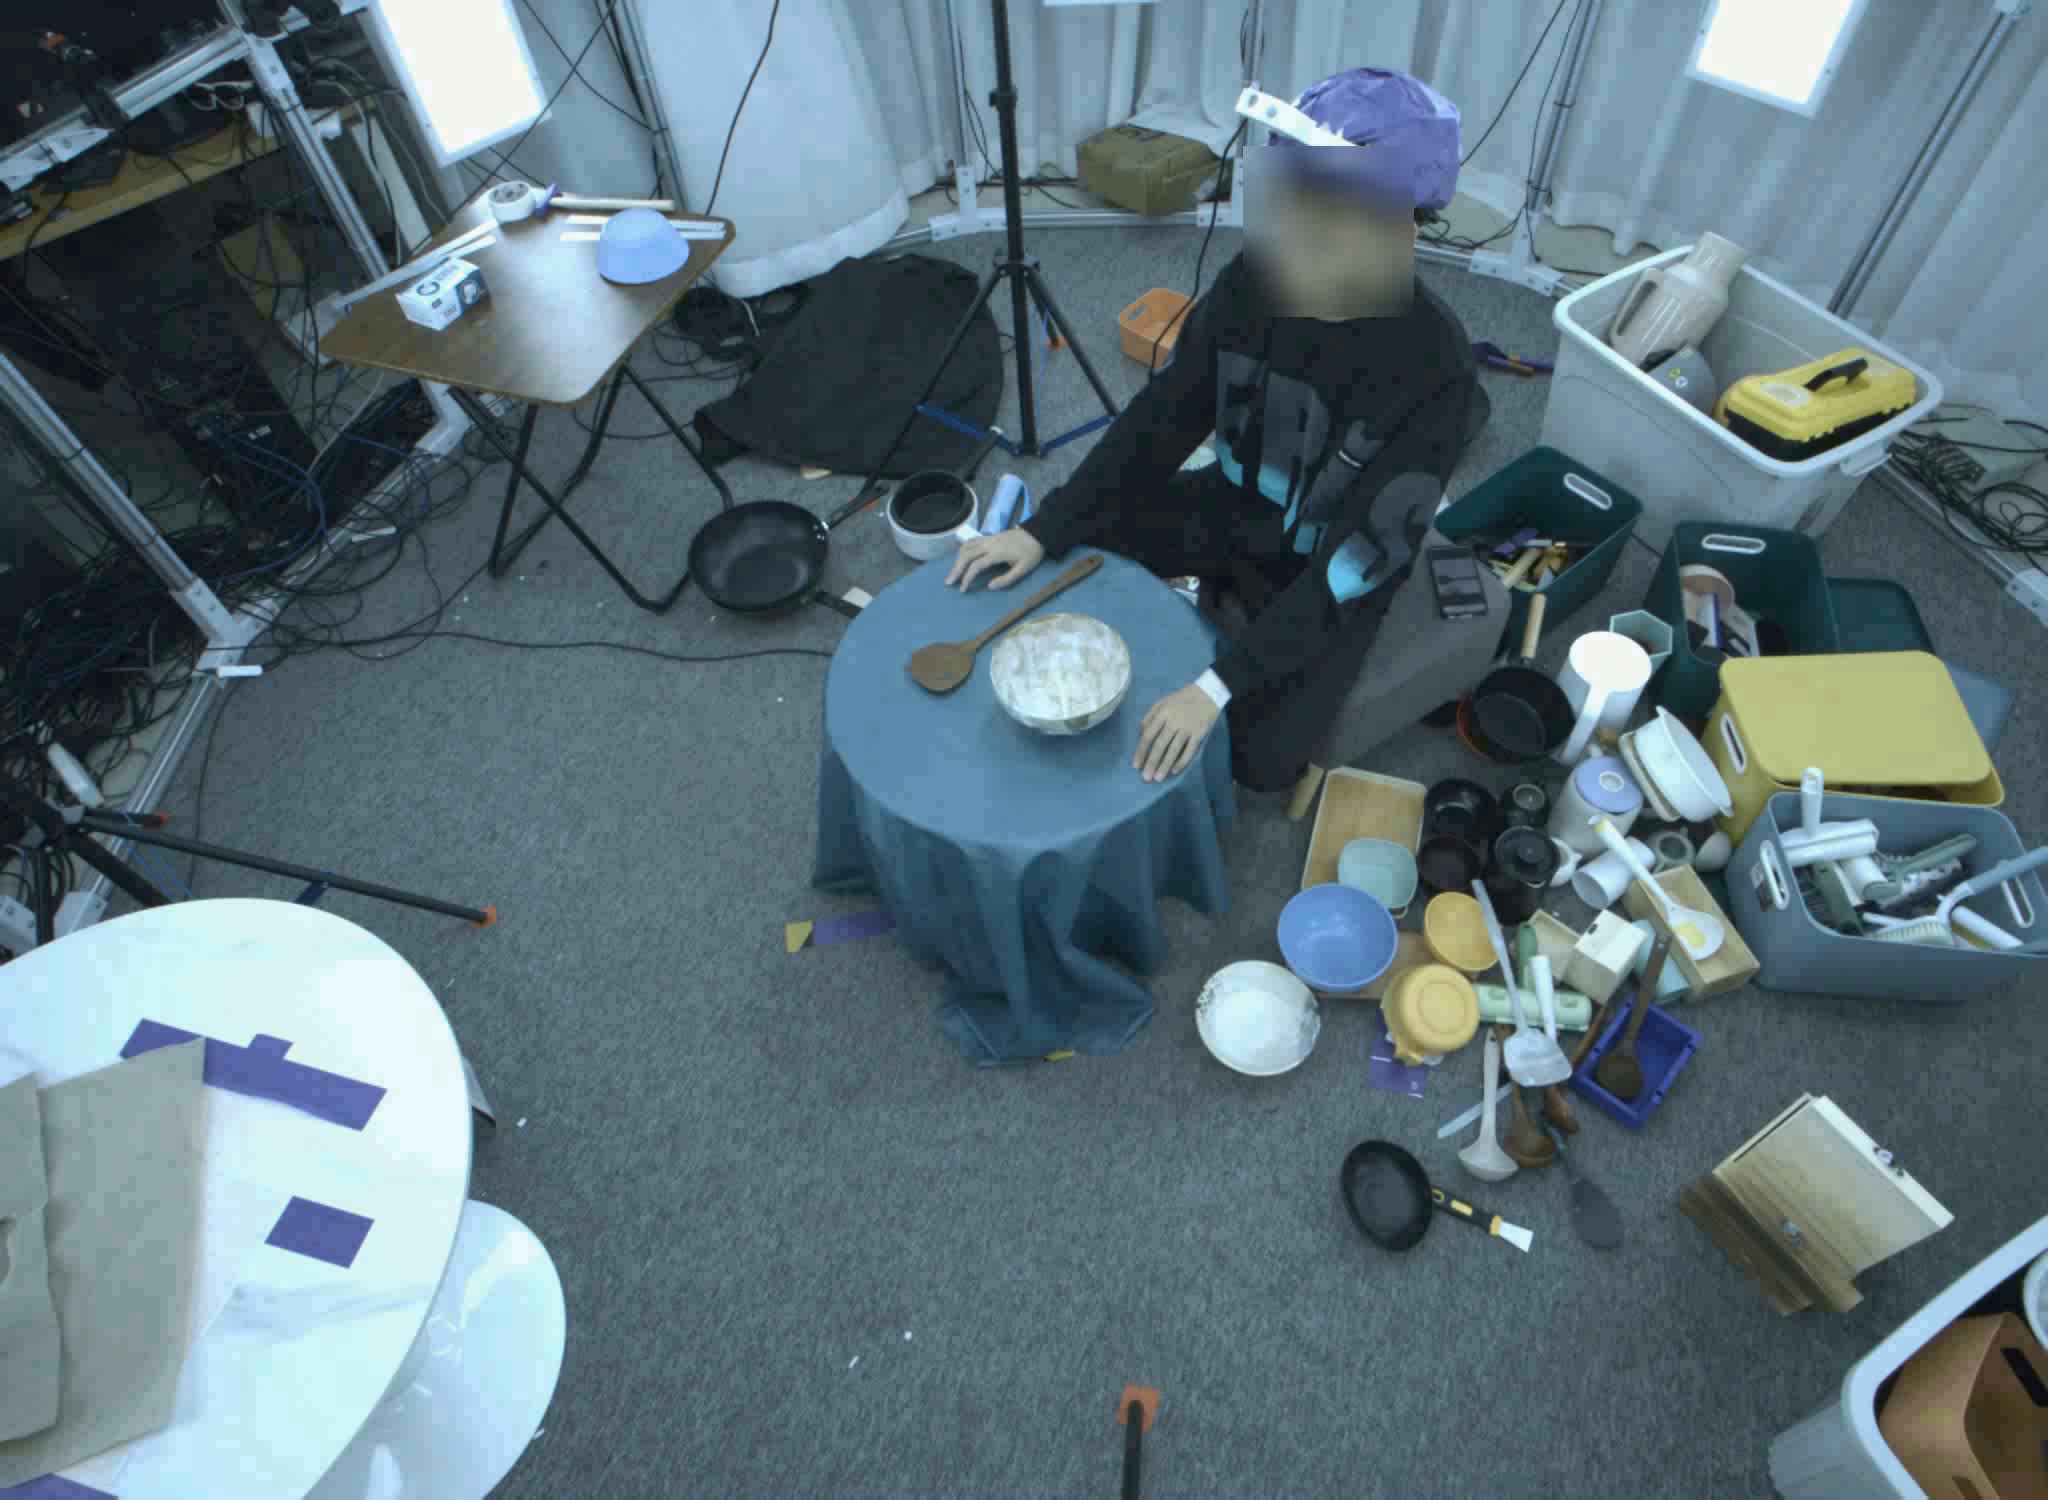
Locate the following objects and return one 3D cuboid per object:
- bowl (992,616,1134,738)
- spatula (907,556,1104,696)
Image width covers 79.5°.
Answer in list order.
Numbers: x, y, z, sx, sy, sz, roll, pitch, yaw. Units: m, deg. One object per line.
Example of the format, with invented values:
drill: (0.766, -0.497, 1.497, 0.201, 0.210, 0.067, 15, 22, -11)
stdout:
bowl: (0.060, -0.092, 1.802, 0.214, 0.095, 0.212, -1, 53, 2)
spatula: (-0.017, -0.208, 1.936, 0.389, 0.016, 0.094, -37, 62, -22)
